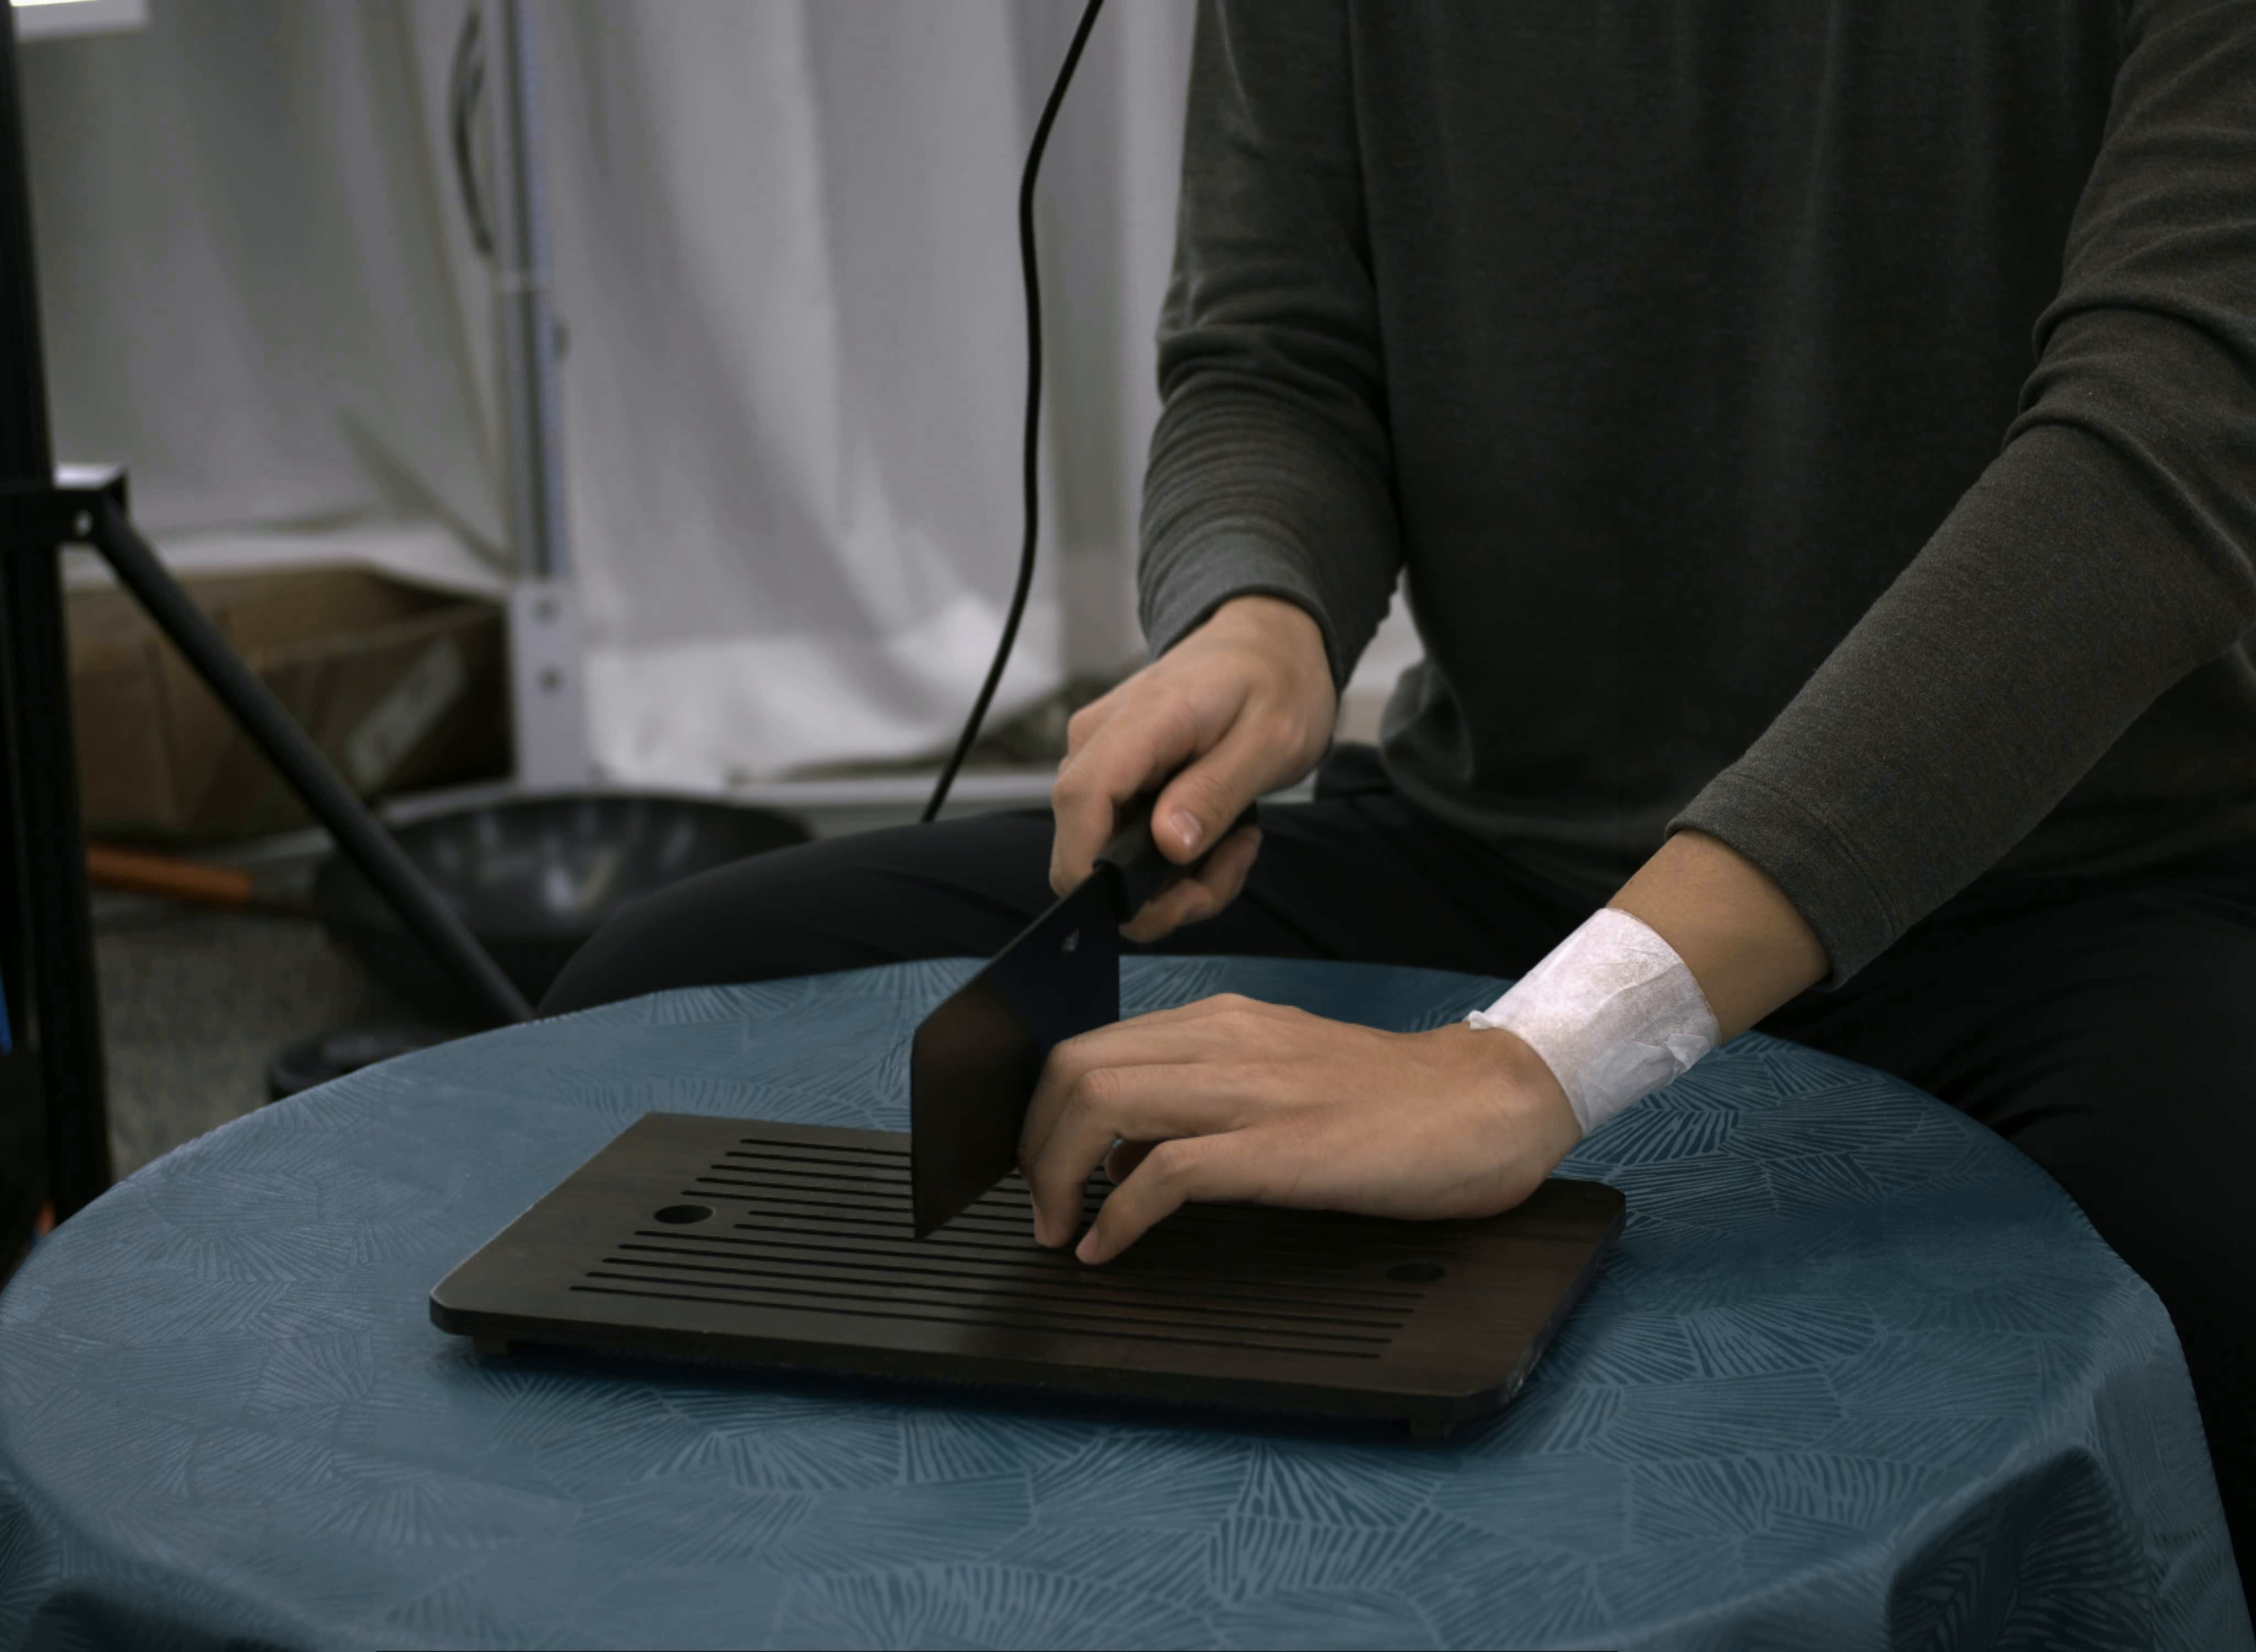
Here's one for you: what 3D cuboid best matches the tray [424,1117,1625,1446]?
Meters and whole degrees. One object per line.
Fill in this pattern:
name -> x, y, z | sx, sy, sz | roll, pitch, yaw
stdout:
tray -> -0.026, 0.124, 1.474 | 0.309, 0.018, 0.168 | 4, 16, 19

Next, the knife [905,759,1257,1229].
knife -> -0.013, 0.040, 1.537 | 0.021, 0.081, 0.299 | 5, 20, 17
